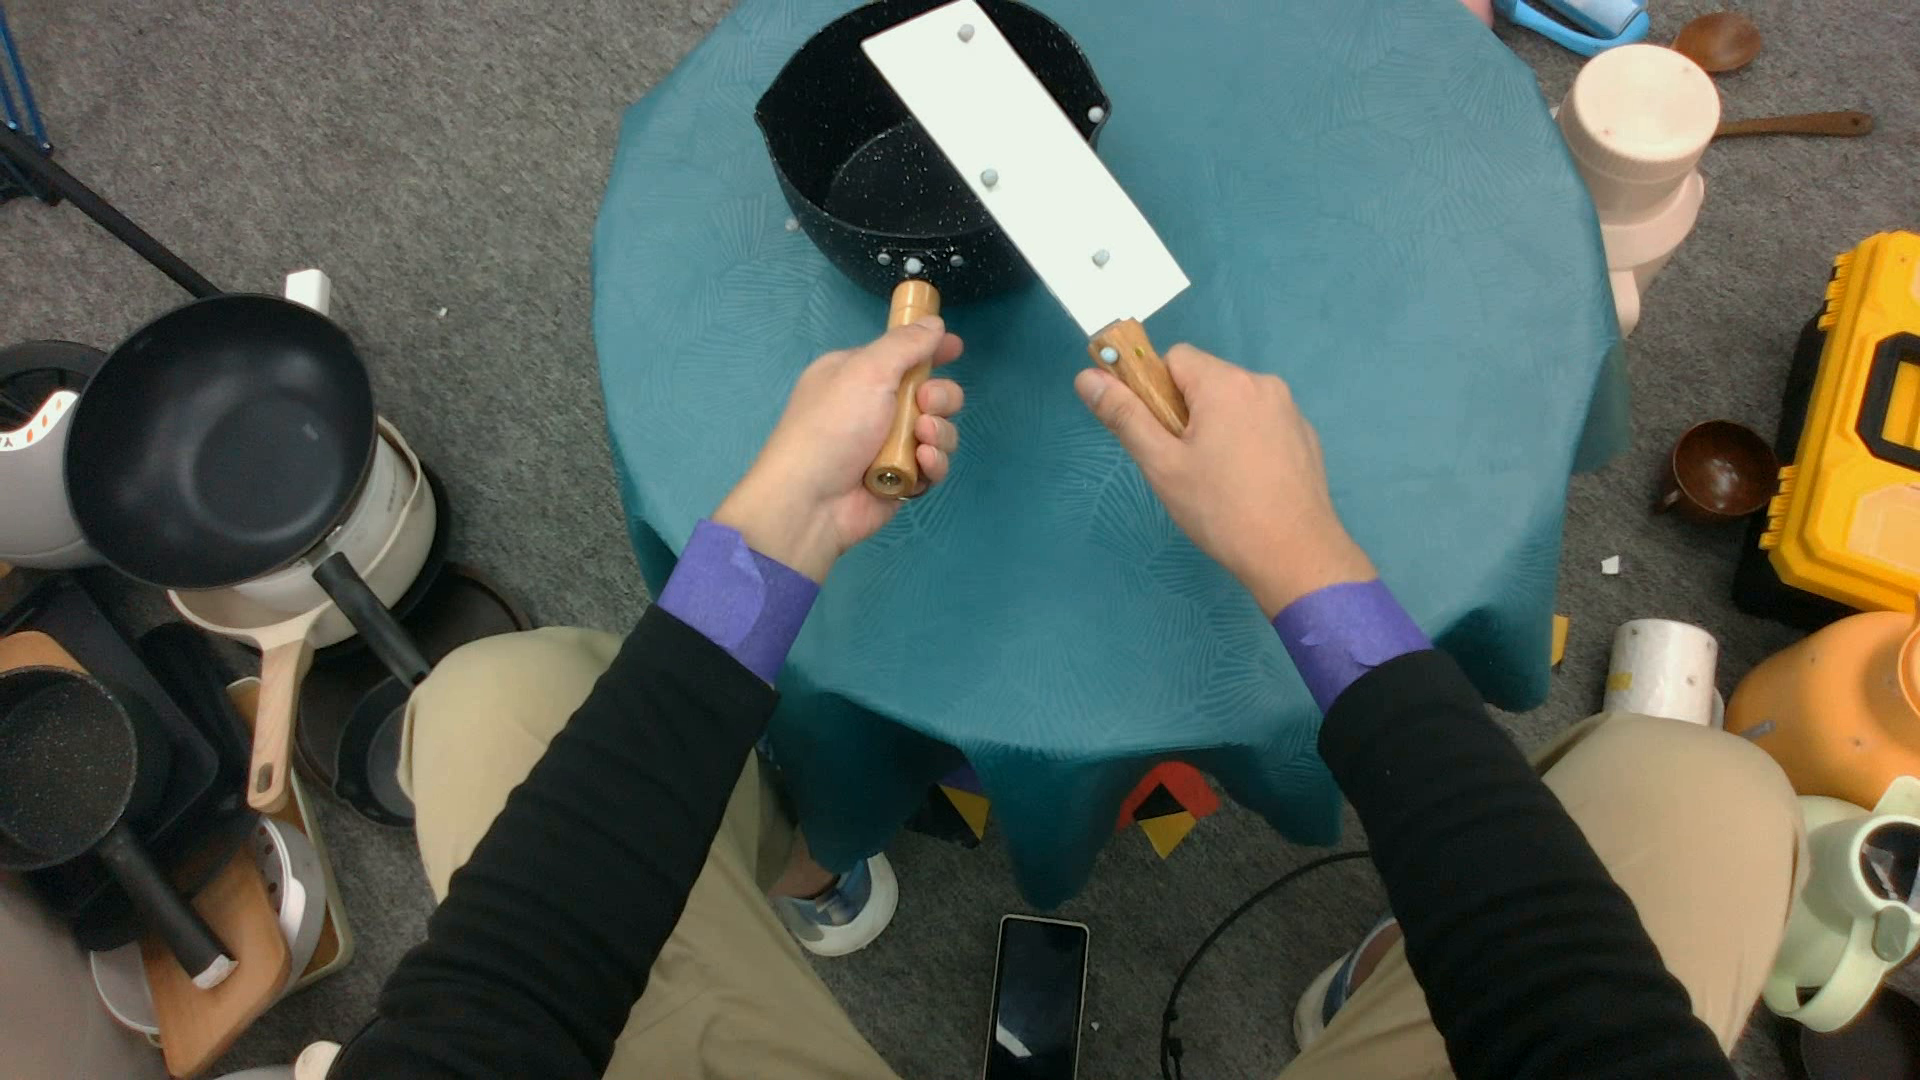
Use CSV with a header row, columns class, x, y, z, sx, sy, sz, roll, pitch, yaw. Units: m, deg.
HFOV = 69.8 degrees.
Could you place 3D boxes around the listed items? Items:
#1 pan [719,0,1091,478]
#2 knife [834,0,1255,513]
class,x,y,z,sx,sy,sz,roll,pitch,yaw
pan,-0.032,-0.163,0.751,0.207,0.108,0.344,-1,61,4
knife,0.057,-0.151,0.697,0.305,0.021,0.093,50,50,-3
